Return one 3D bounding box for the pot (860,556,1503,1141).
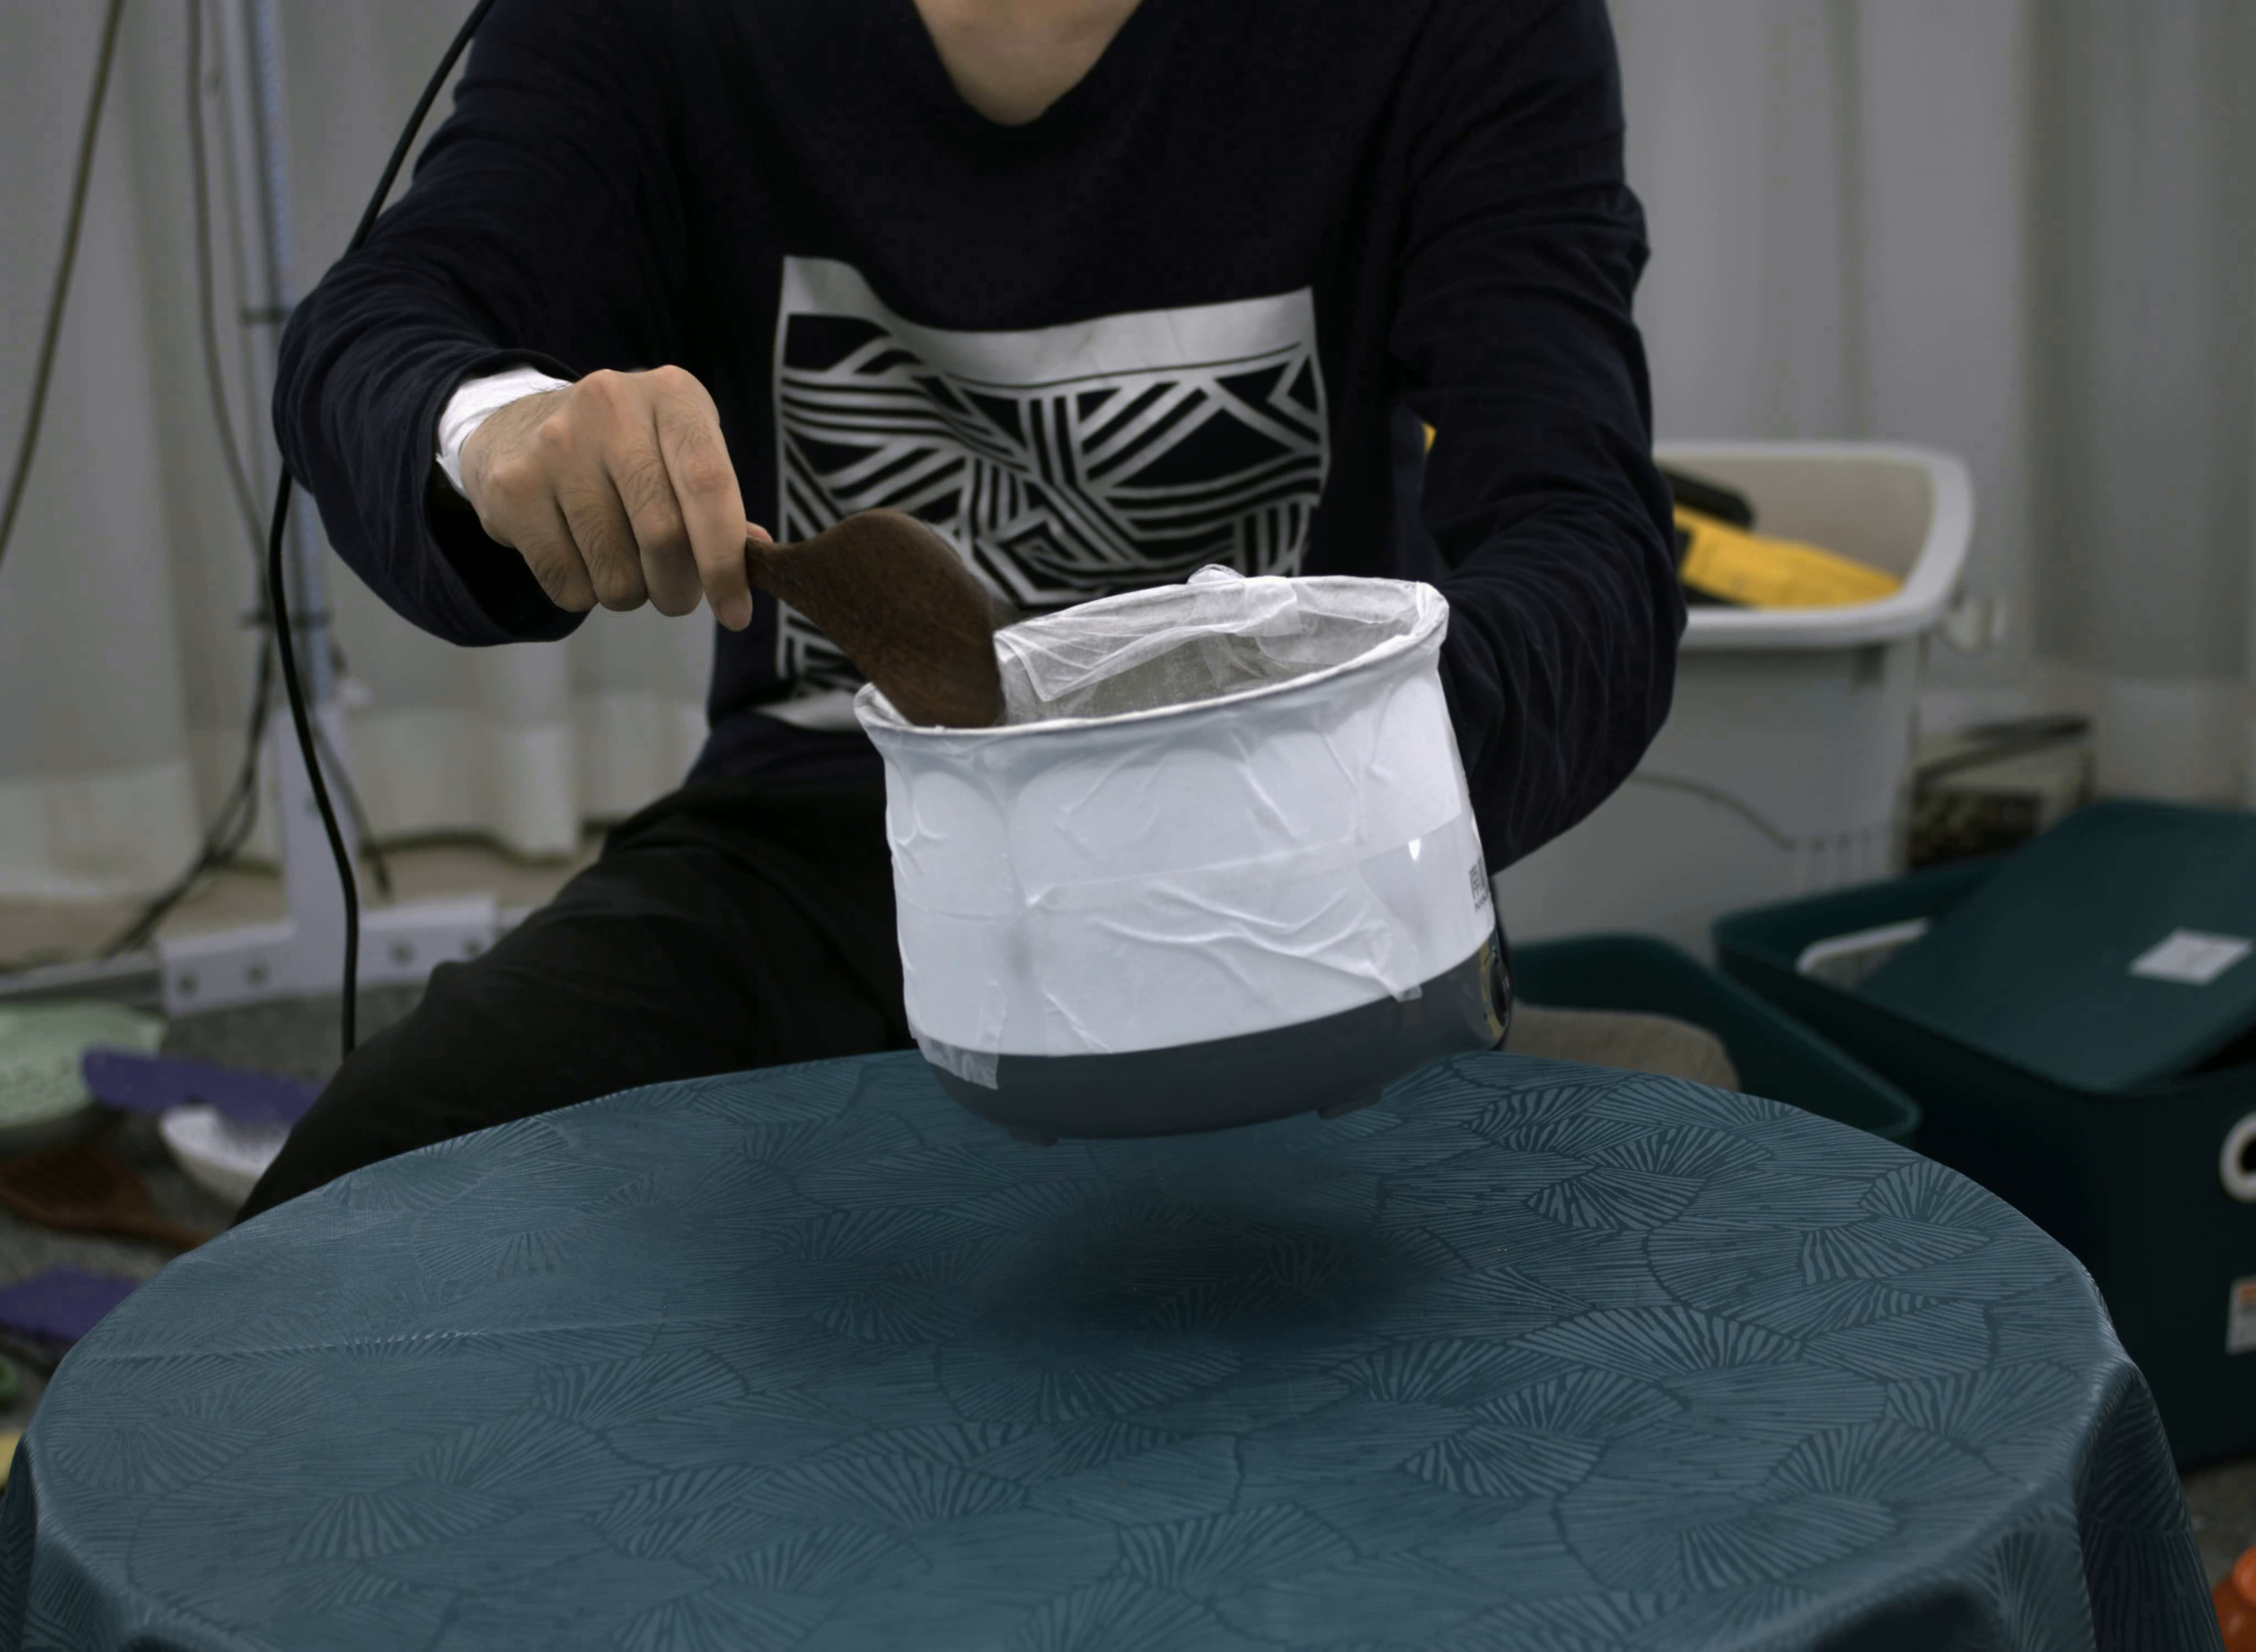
[{"bbox_3d":[0.021,0.002,1.642,0.178,0.136,0.235,-5,14,11],"label":"pot"}]

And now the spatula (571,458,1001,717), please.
[{"bbox_3d":[-0.104,-0.076,1.628,0.009,0.071,0.217,-25,30,-33],"label":"spatula"}]
